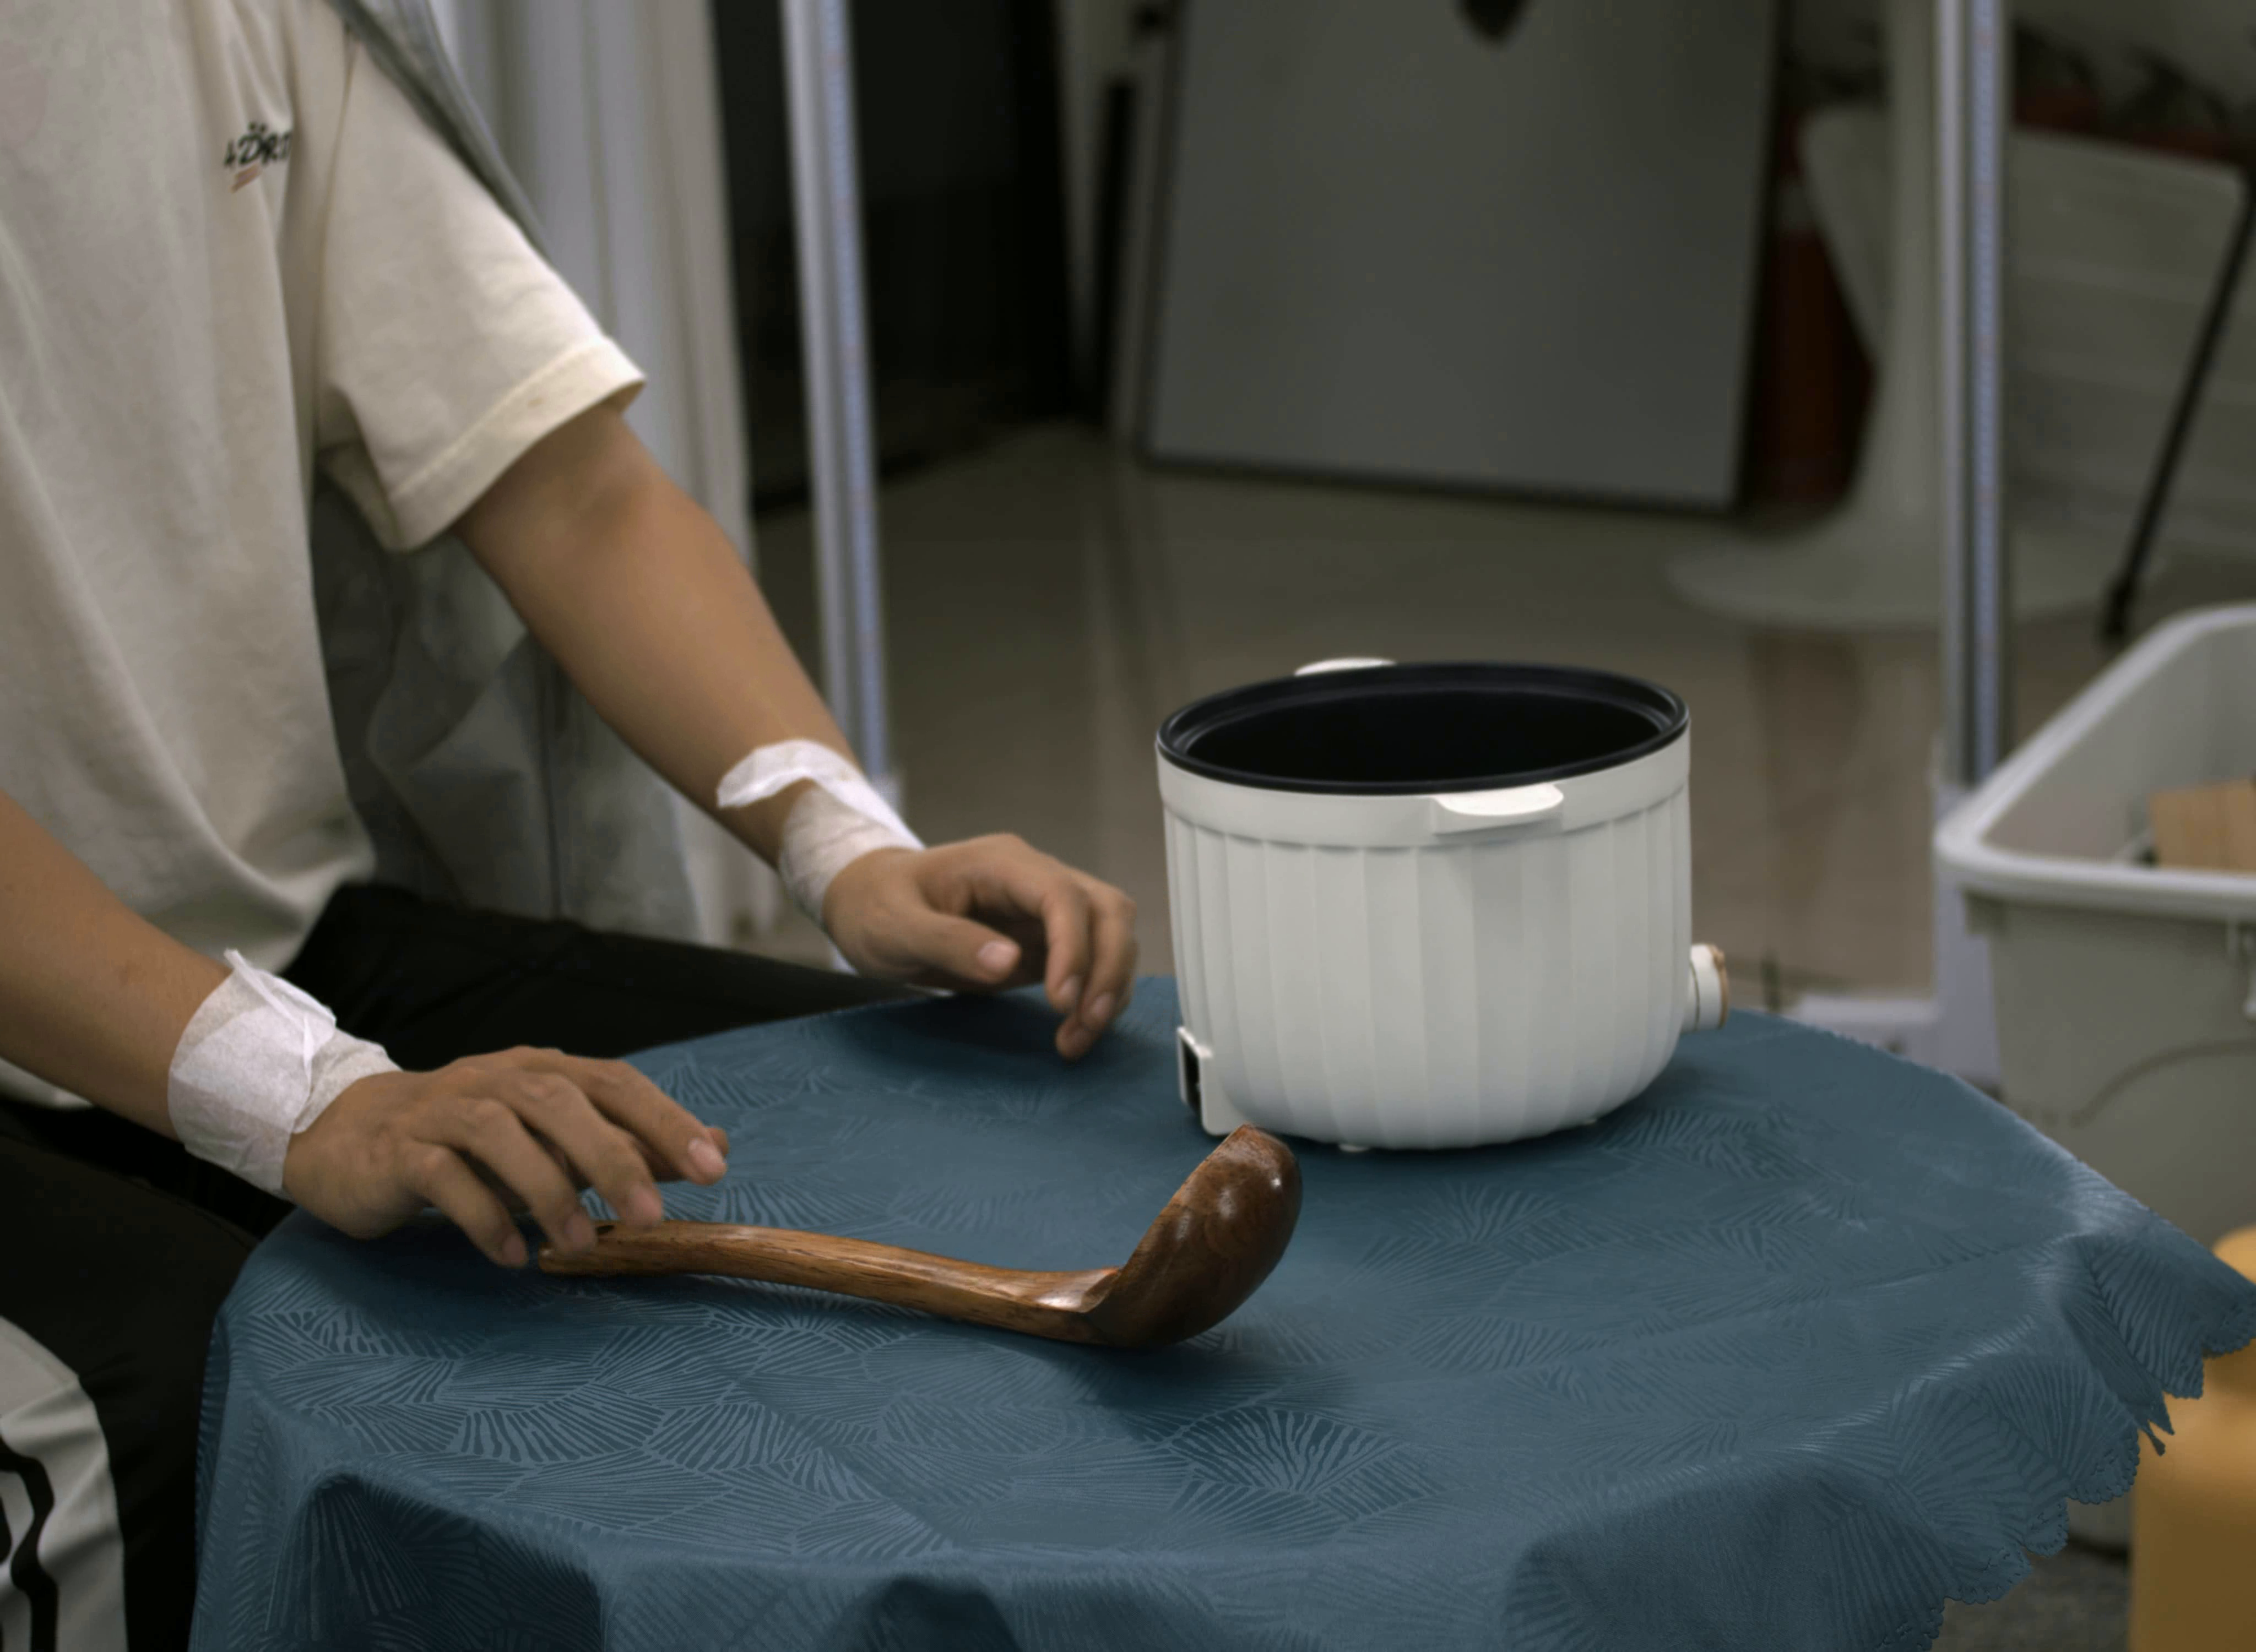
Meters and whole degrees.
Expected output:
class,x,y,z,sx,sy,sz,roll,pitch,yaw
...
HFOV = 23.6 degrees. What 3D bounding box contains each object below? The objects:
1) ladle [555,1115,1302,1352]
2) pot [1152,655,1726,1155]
class,x,y,z,sx,sy,sz,roll,pitch,yaw
ladle,-0.069,0.115,1.658,0.275,0.077,0.080,5,16,33
pot,0.107,0.027,1.833,0.187,0.144,0.242,-10,15,-10
